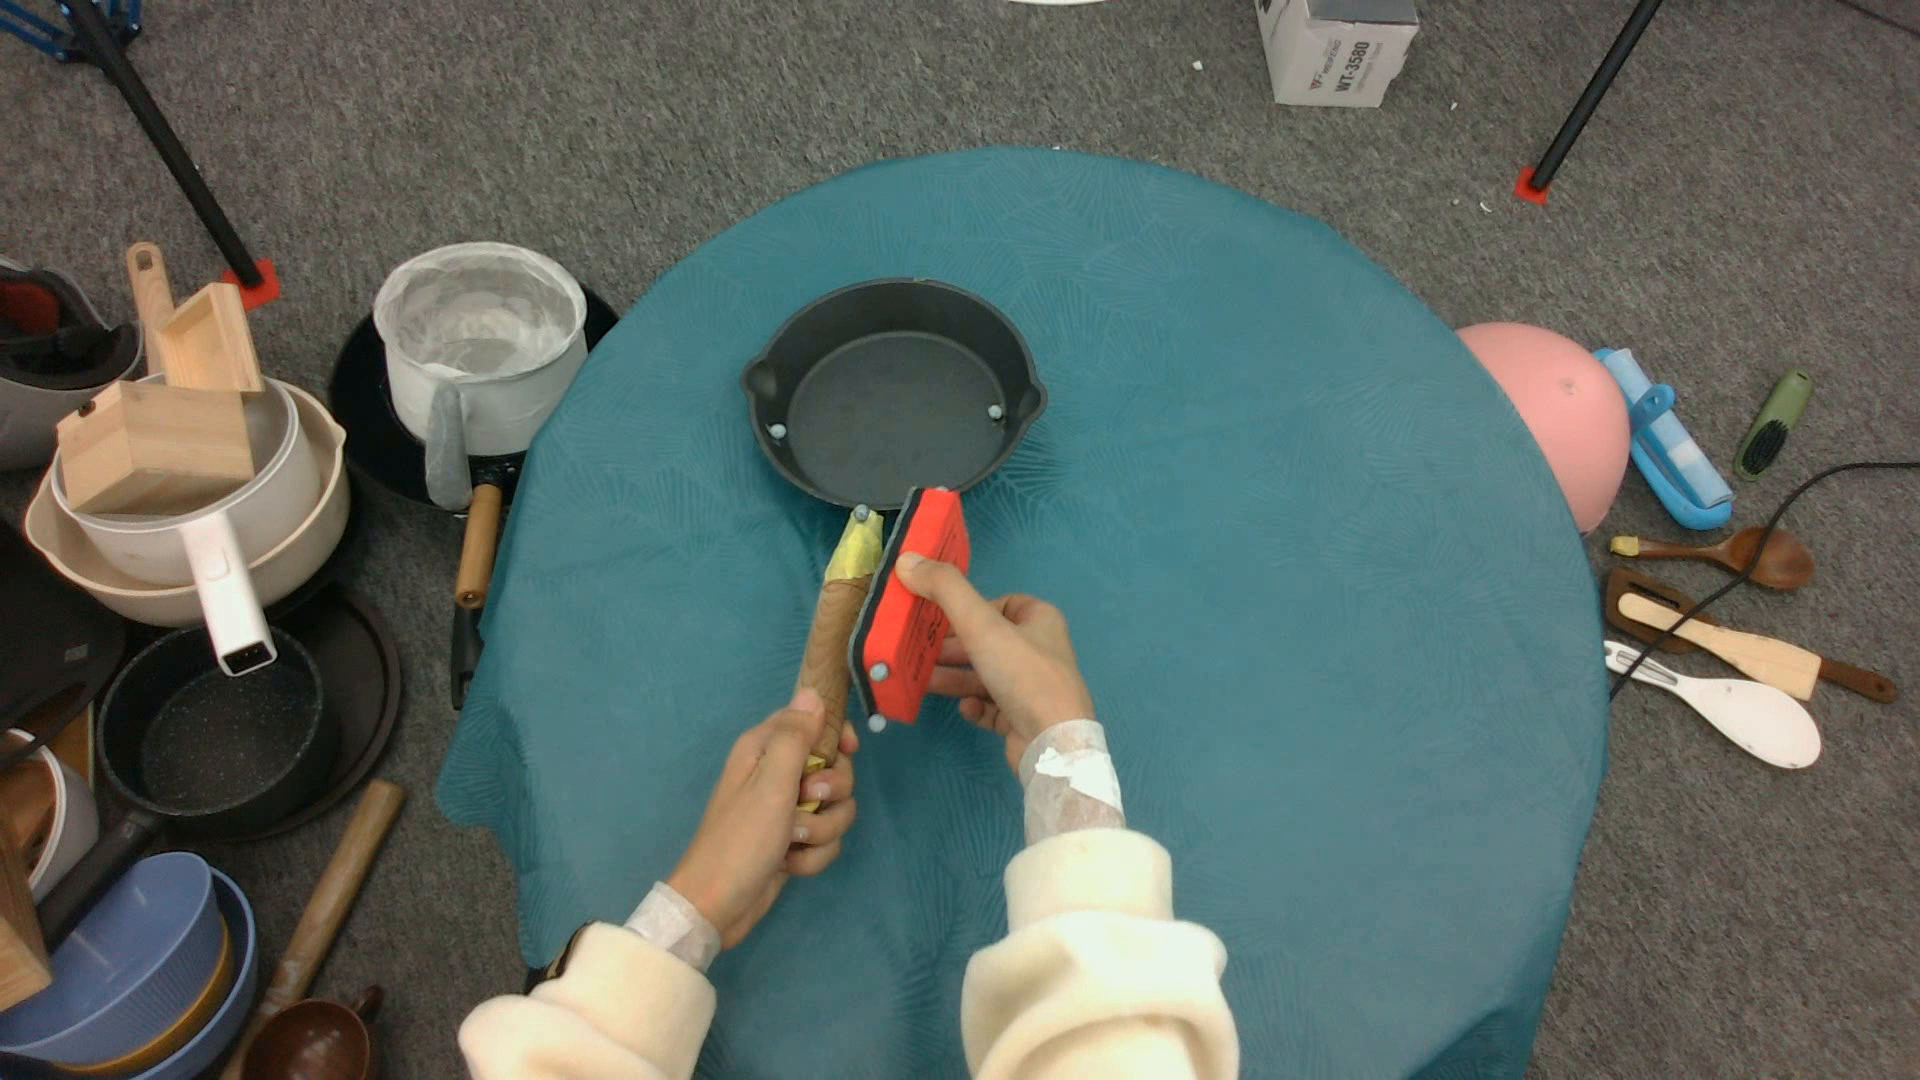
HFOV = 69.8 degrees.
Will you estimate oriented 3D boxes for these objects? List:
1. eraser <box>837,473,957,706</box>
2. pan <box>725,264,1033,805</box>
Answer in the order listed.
[{"bbox_3d":[-0.028,0.022,0.659,0.023,0.059,0.108,6,49,16],"label":"eraser"},{"bbox_3d":[-0.058,-0.014,0.707,0.169,0.049,0.325,7,58,6],"label":"pan"}]
